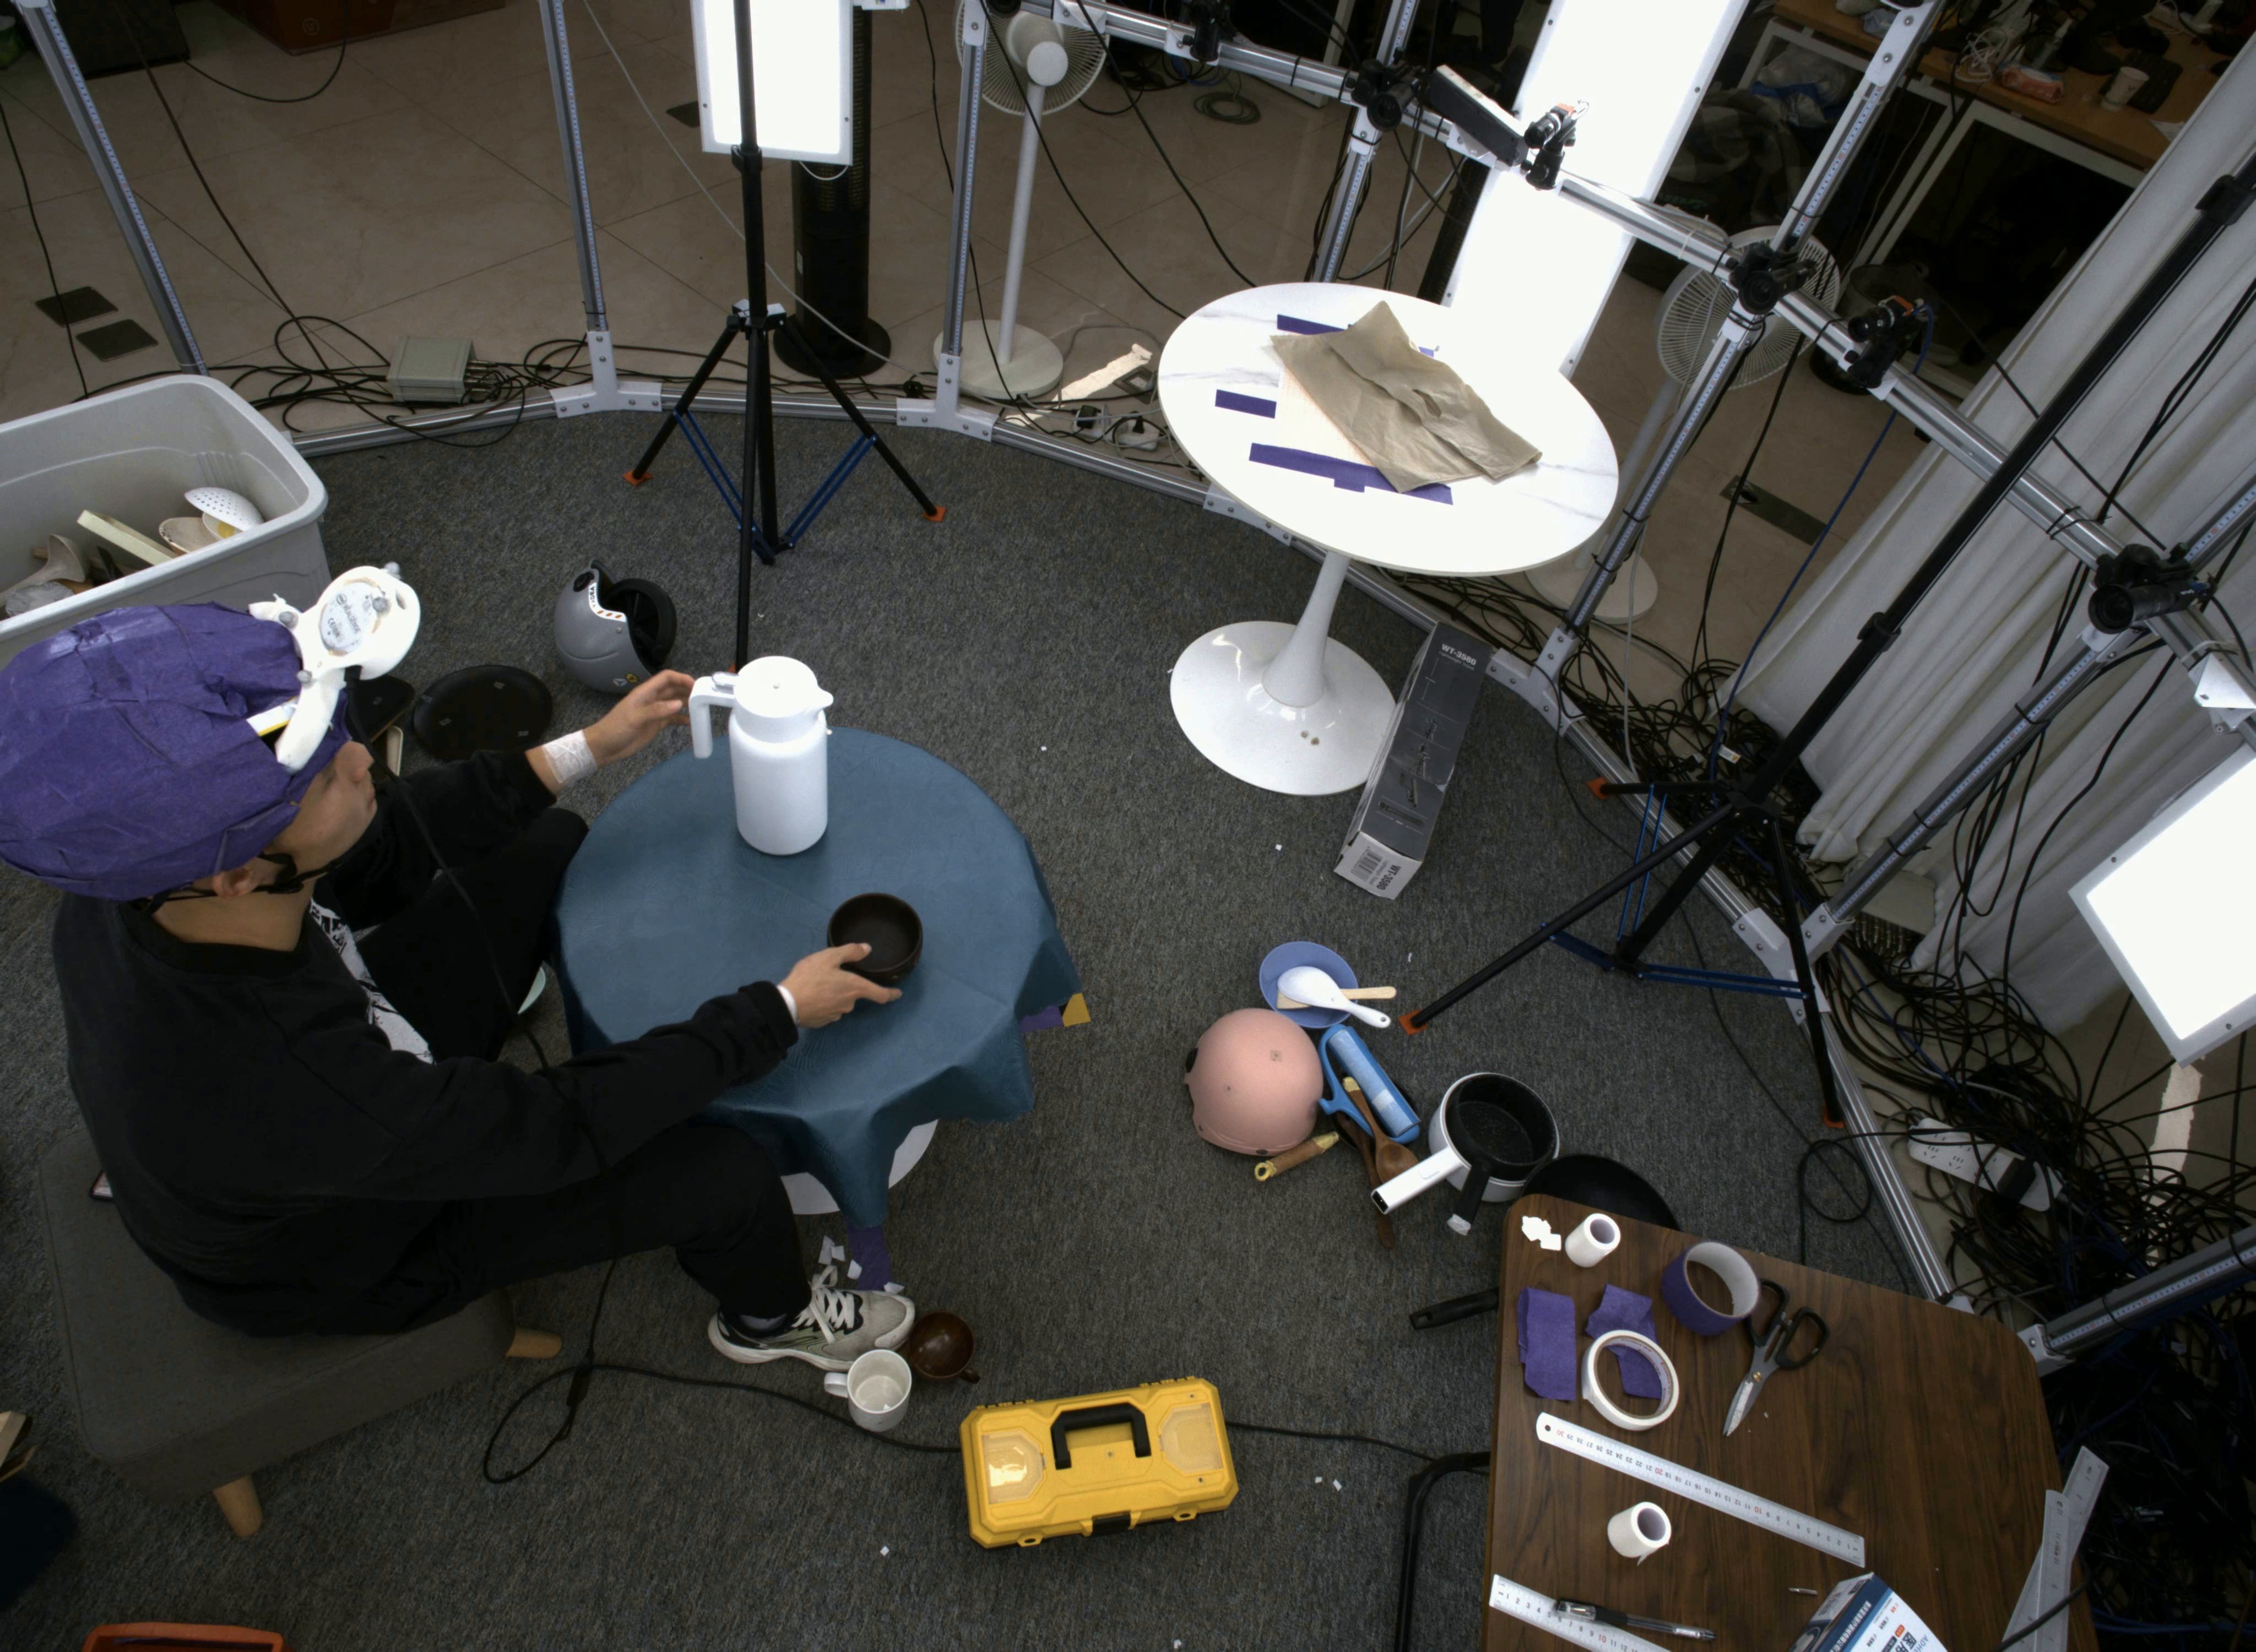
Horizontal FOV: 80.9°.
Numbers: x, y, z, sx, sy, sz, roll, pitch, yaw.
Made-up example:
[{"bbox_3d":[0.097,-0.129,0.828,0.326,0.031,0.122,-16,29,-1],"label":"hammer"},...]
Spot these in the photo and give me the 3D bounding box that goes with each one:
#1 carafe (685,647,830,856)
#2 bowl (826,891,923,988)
[{"bbox_3d":[-0.455,-0.089,1.607,0.172,0.274,0.121,6,53,-8],"label":"carafe"},{"bbox_3d":[-0.310,0.144,1.594,0.118,0.071,0.116,7,52,-8],"label":"bowl"}]
